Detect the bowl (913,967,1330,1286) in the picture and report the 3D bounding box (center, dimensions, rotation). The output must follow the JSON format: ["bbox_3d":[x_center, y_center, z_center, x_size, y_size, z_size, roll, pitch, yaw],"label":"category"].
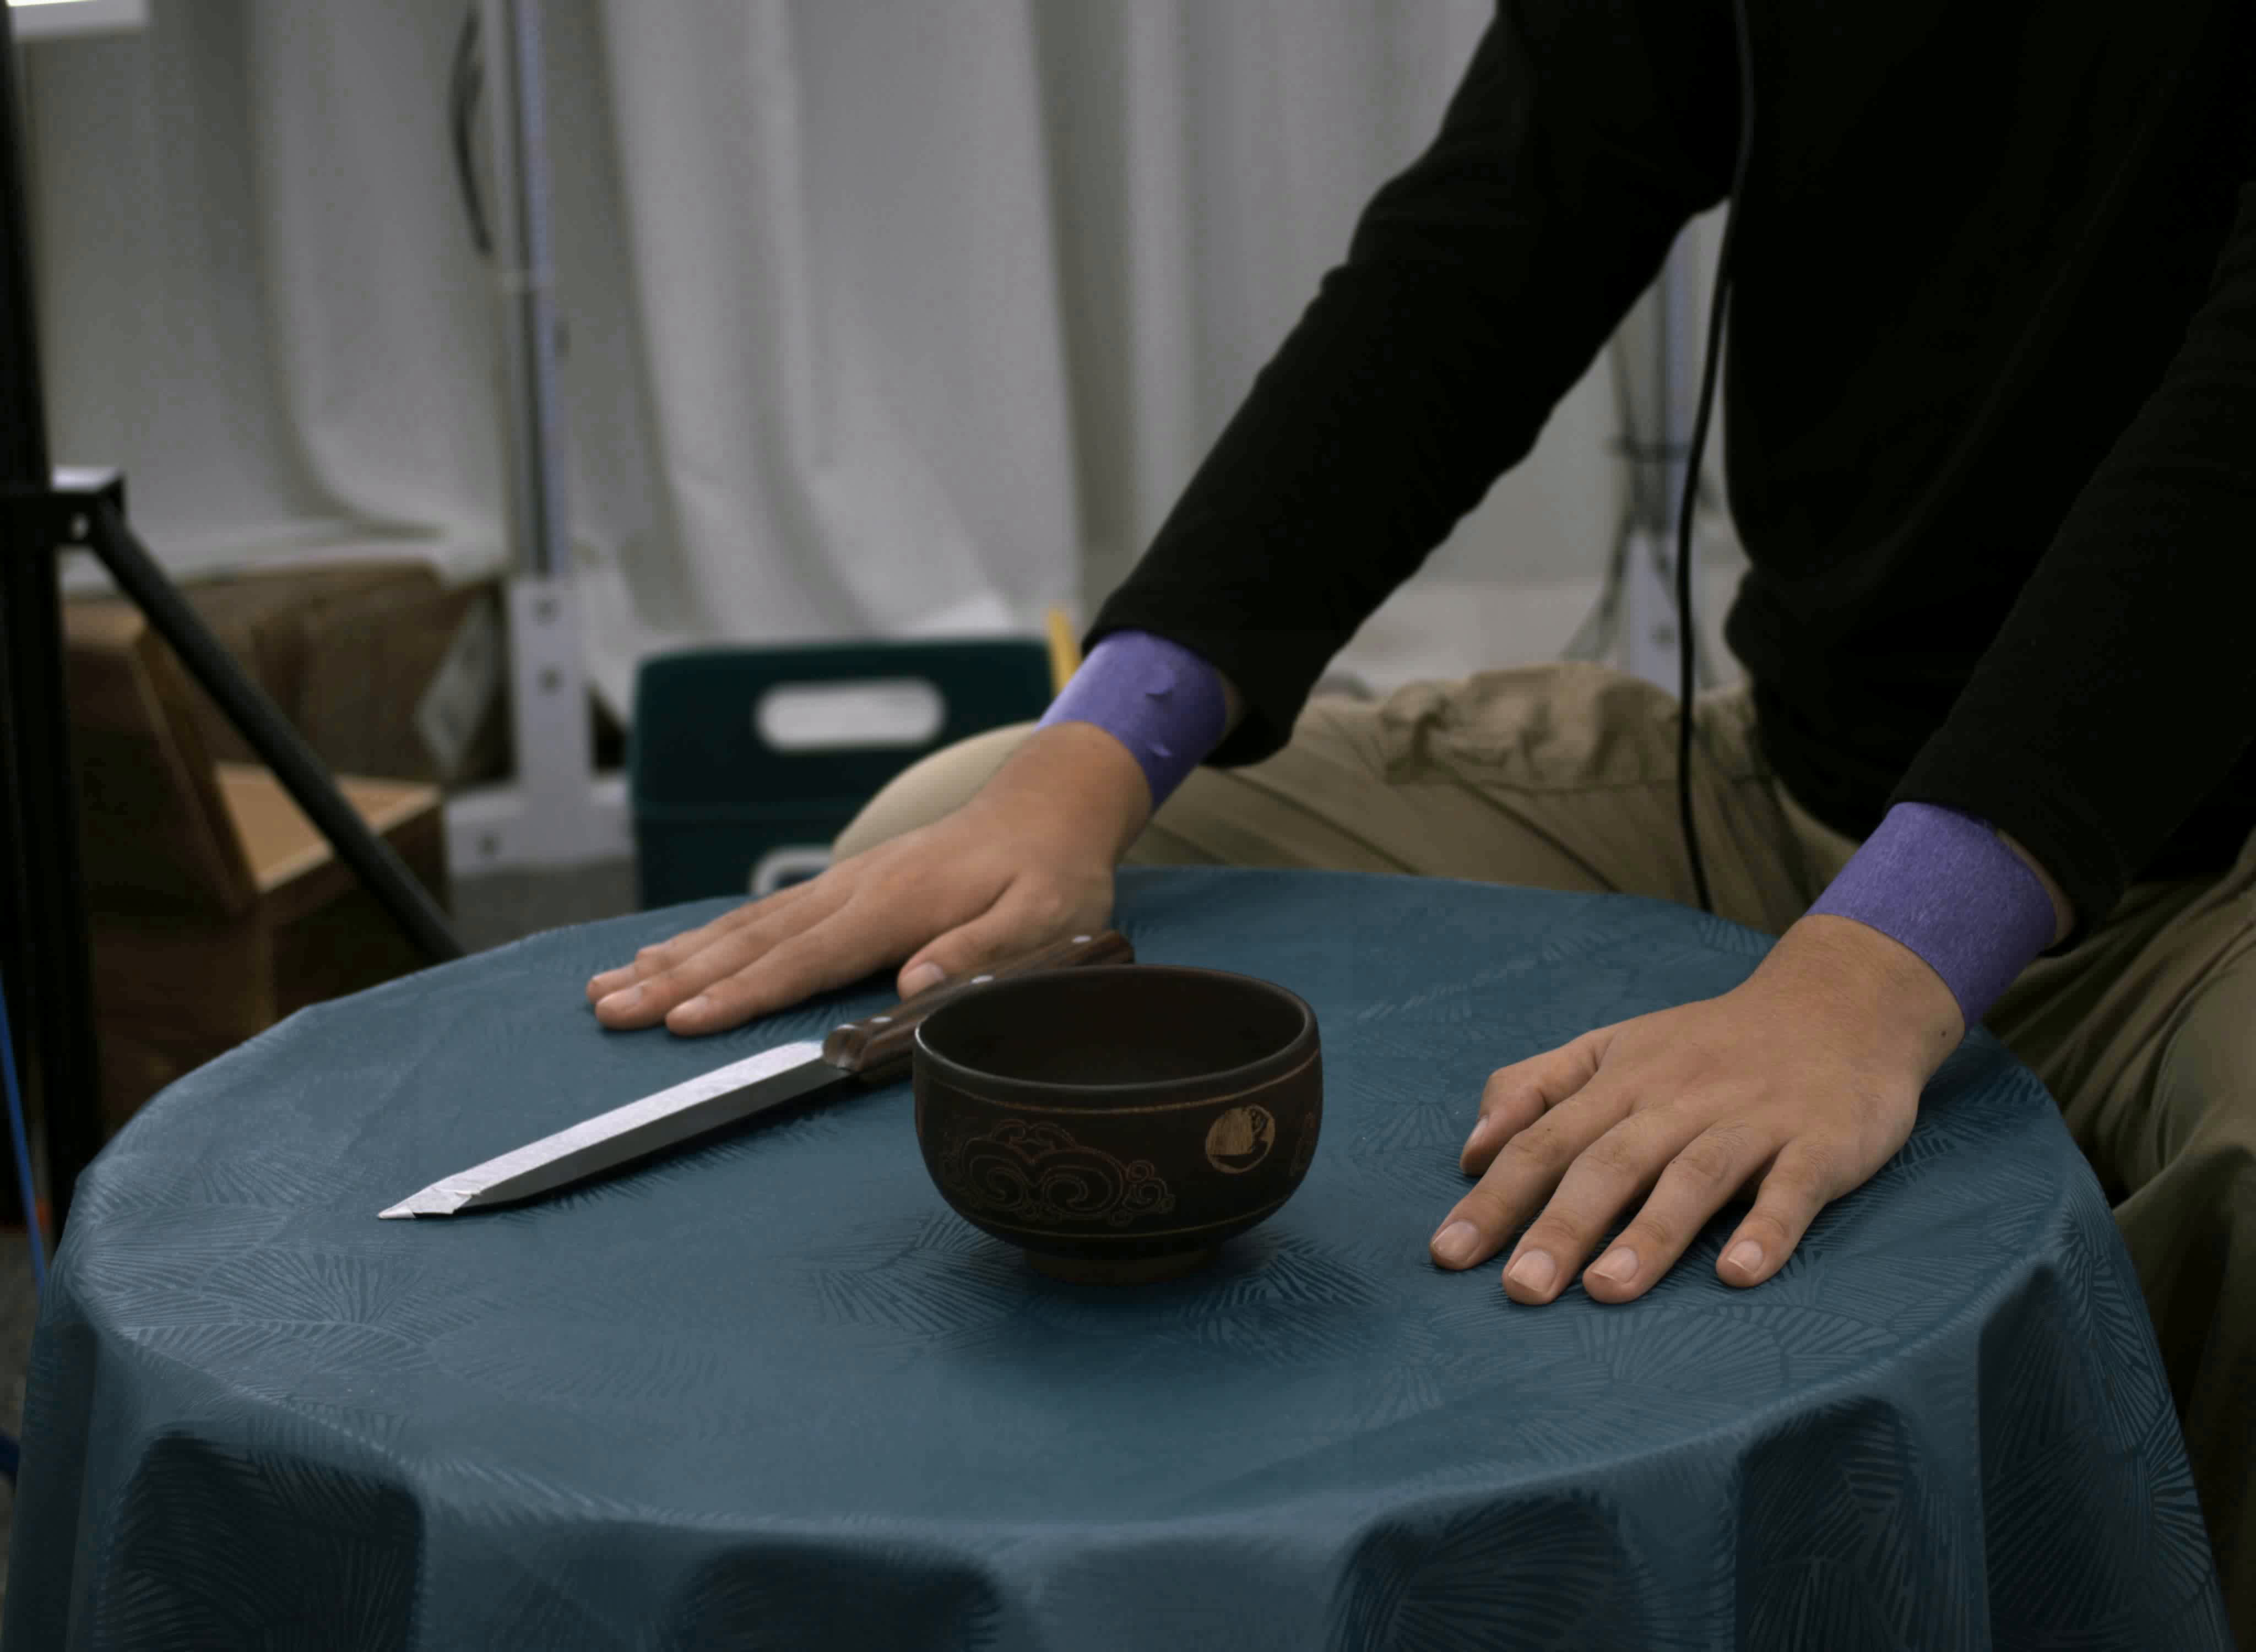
[{"bbox_3d":[-0.001,0.088,1.498,0.117,0.070,0.118,-2,14,-1],"label":"bowl"}]

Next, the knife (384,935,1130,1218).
[{"bbox_3d":[-0.110,0.079,1.647,0.283,0.020,0.051,-19,18,-37],"label":"knife"}]
